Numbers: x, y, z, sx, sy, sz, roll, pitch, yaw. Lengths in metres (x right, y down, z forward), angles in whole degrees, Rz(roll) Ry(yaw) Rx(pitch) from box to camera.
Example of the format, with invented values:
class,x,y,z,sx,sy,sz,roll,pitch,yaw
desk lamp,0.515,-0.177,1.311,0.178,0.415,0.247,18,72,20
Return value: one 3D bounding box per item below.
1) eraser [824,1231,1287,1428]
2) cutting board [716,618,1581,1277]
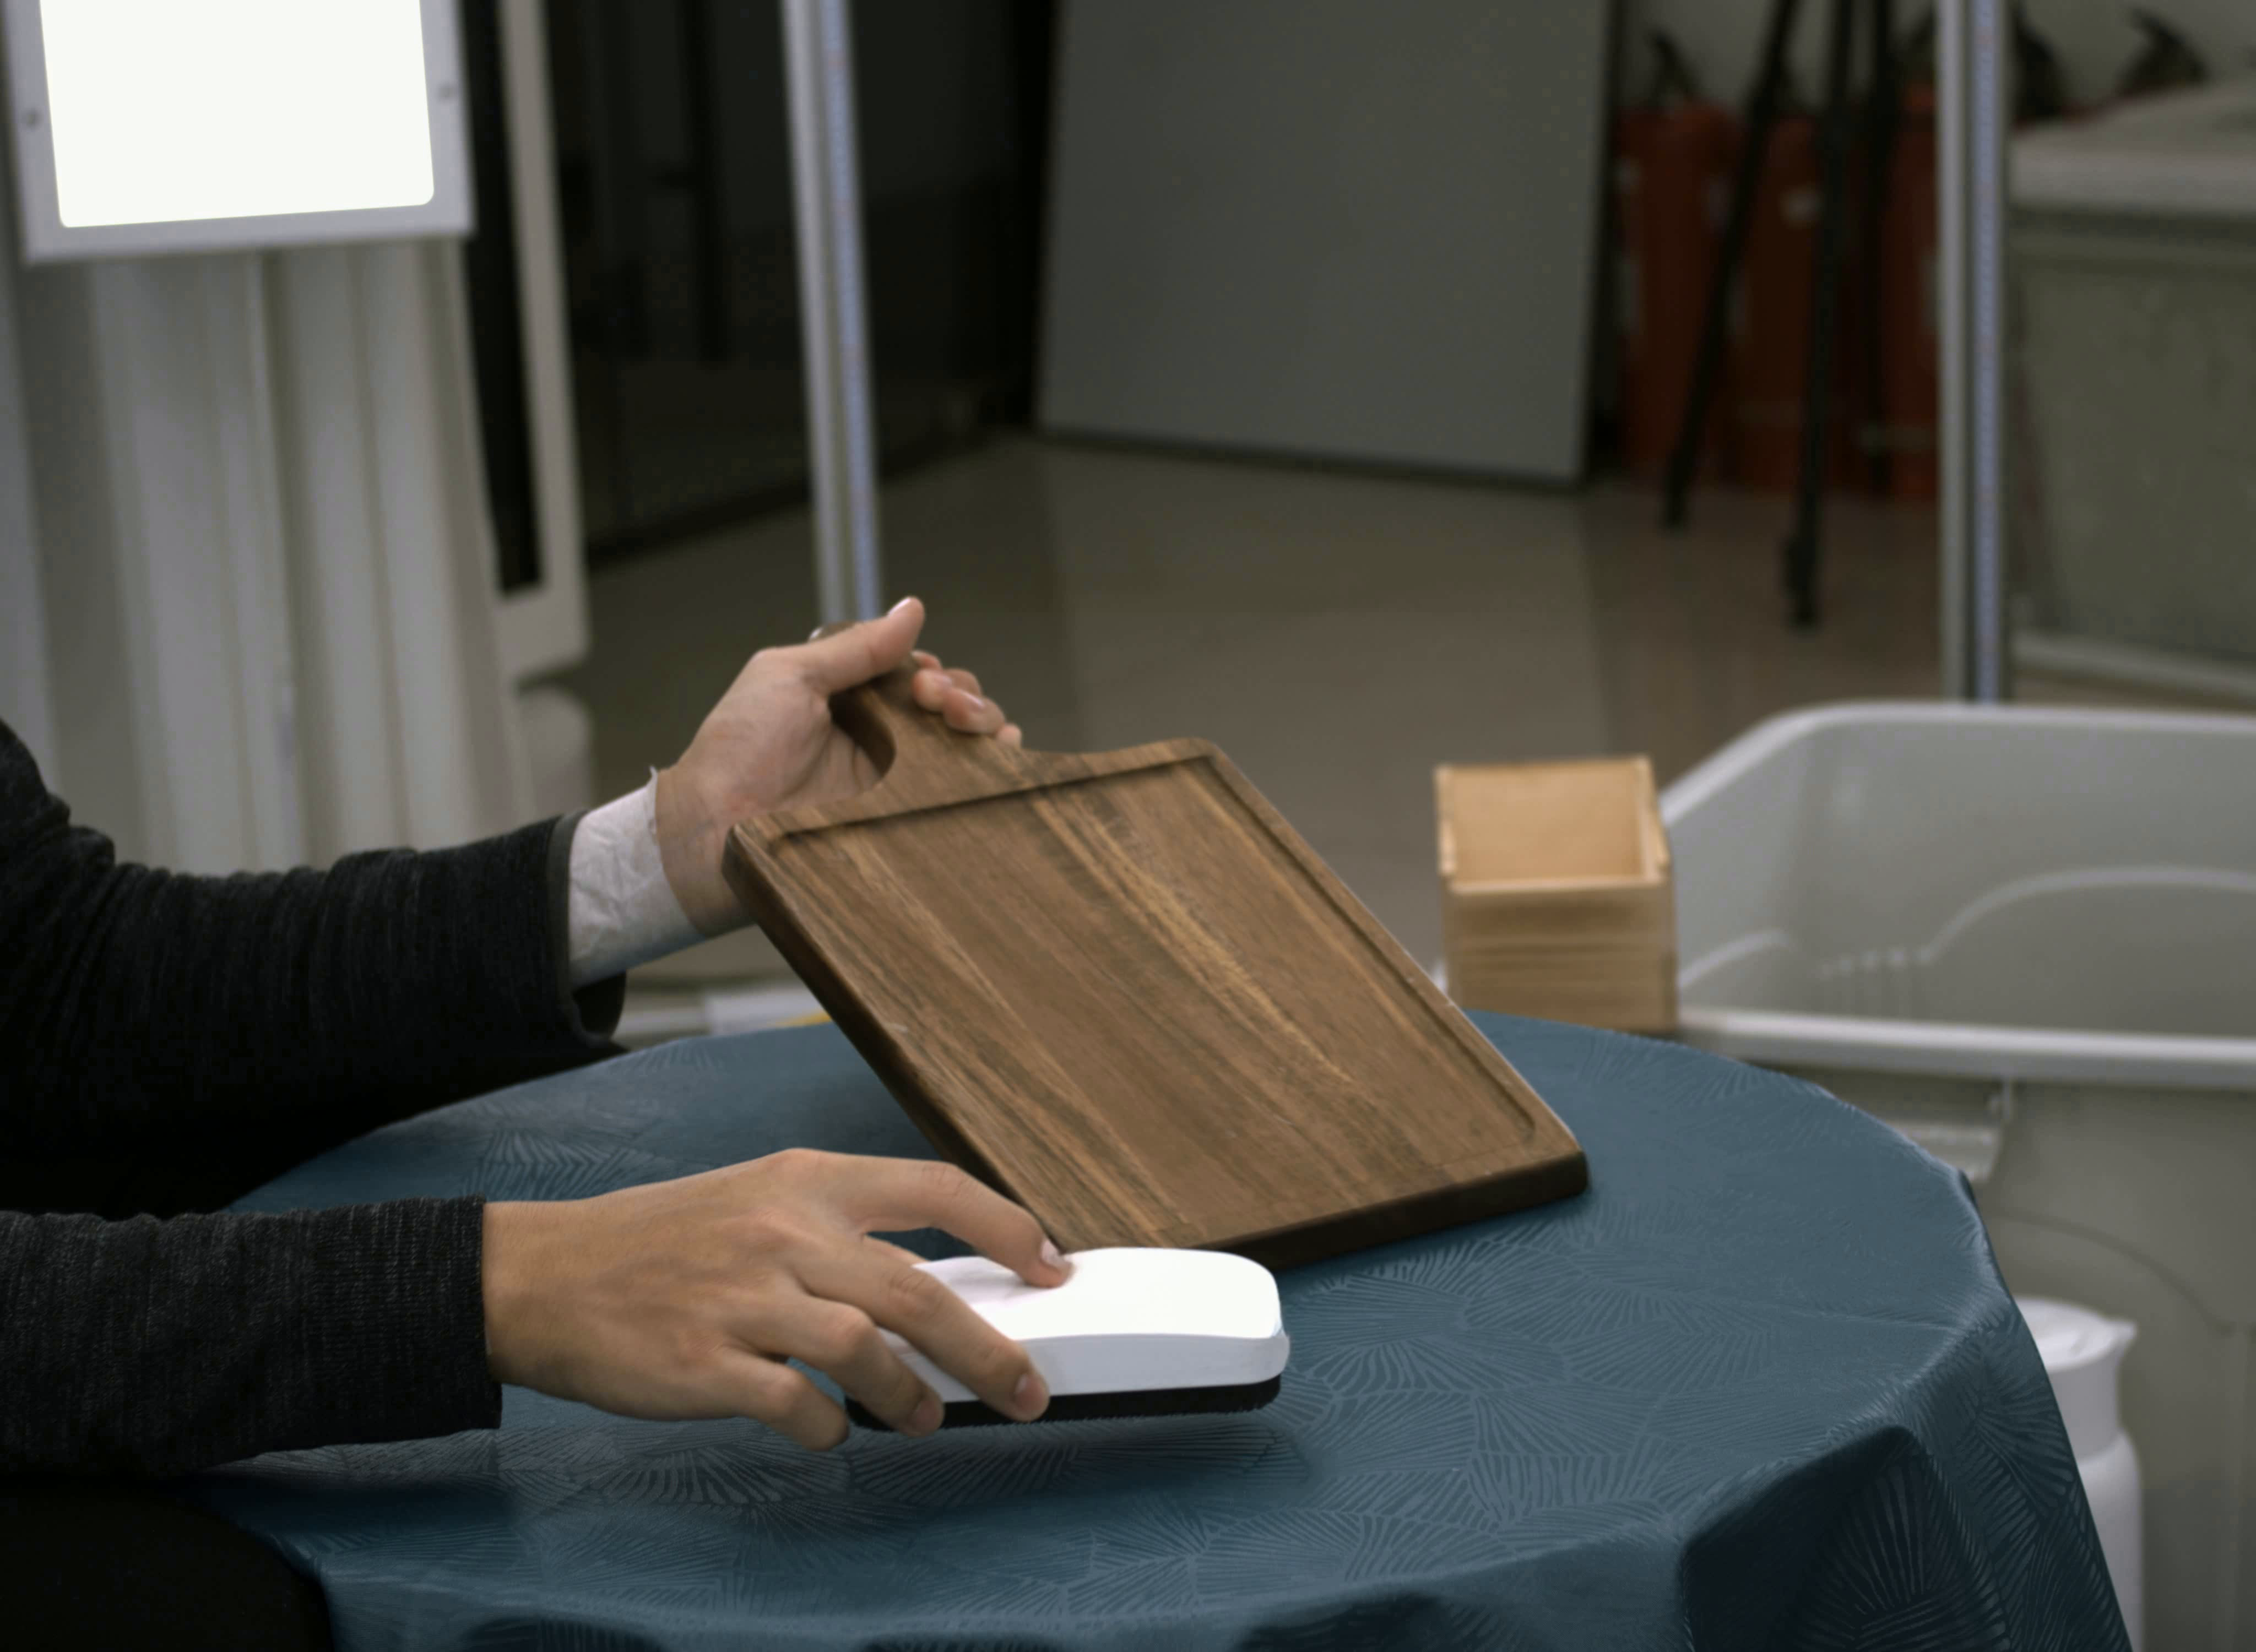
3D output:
class,x,y,z,sx,sy,sz,roll,pitch,yaw
eraser,-0.021,0.143,1.535,0.129,0.035,0.064,-2,20,-5
cutting board,-0.020,0.031,1.805,0.196,0.023,0.356,-11,39,-29
